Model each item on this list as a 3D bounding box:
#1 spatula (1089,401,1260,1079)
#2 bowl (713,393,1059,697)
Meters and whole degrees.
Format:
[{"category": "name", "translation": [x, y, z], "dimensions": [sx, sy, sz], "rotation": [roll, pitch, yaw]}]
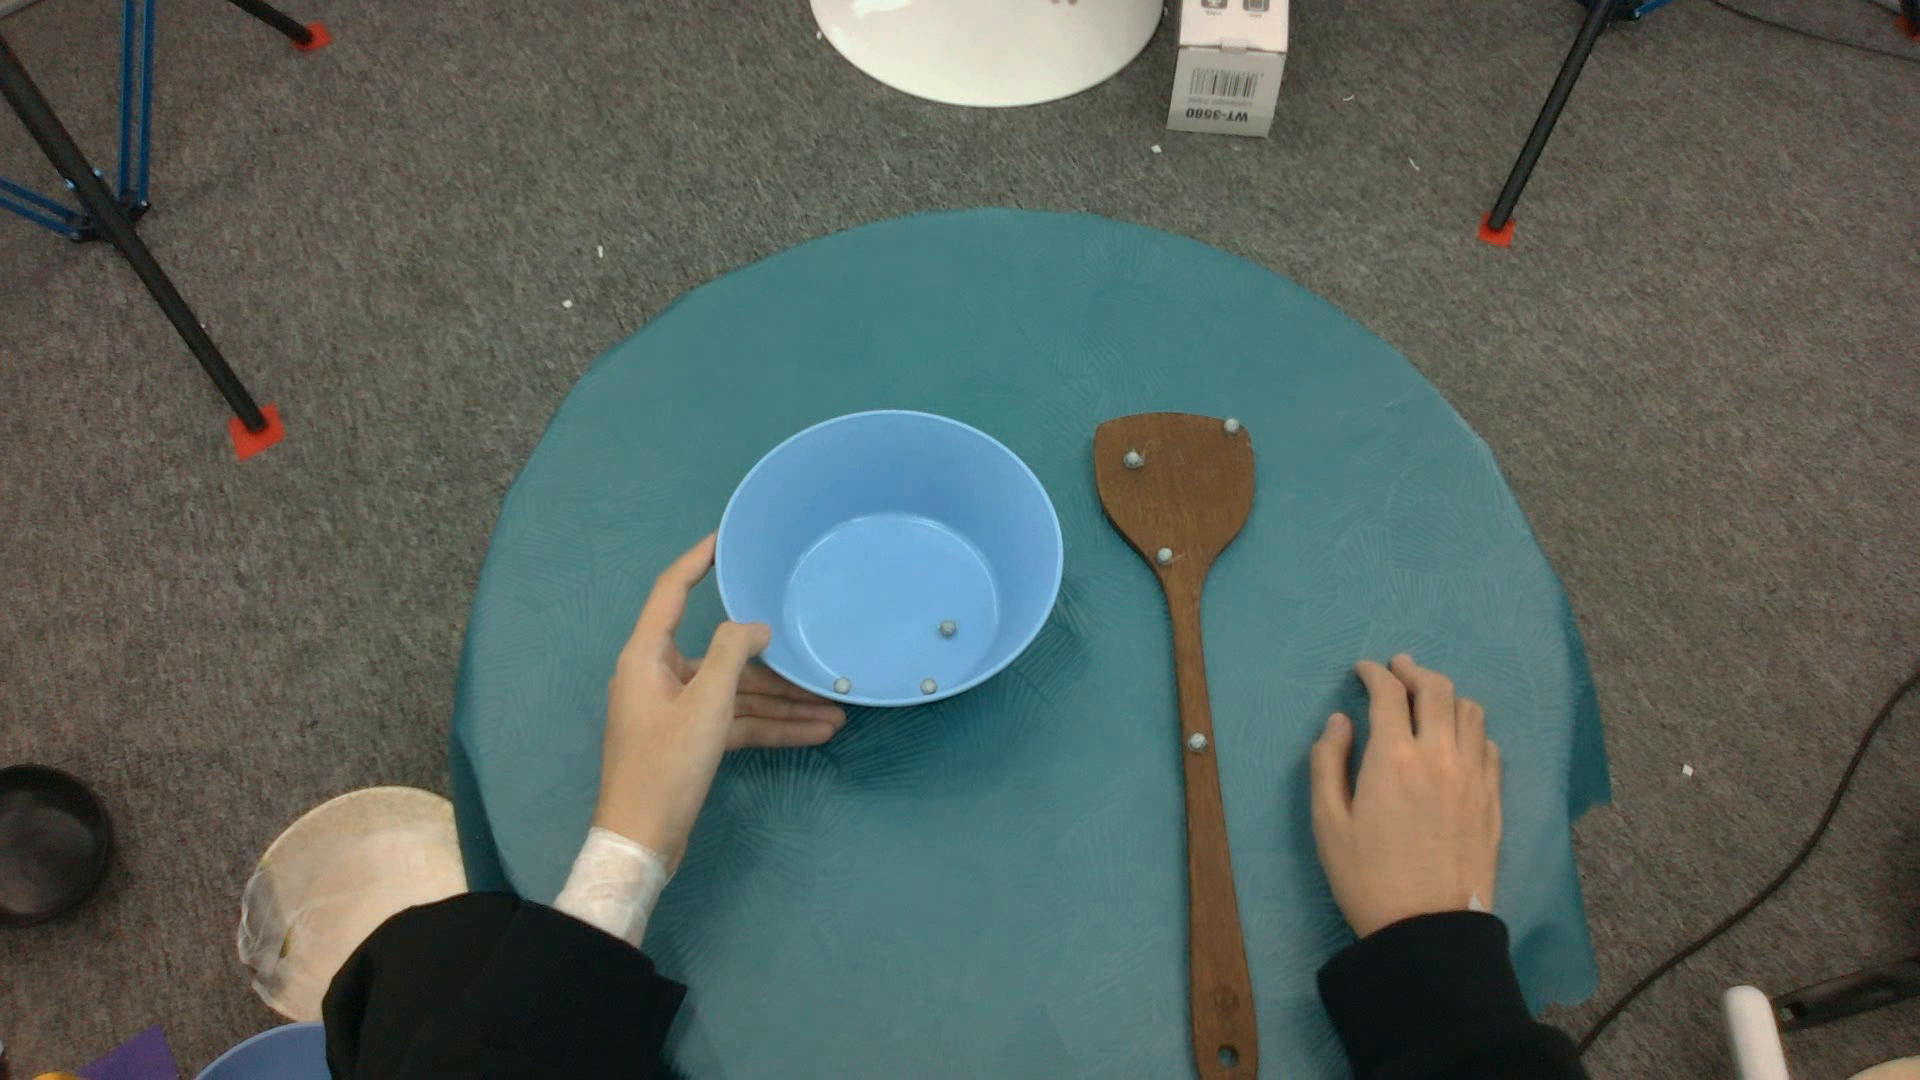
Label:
[{"category": "spatula", "translation": [0.122, 0.083, 0.719], "dimensions": [0.096, 0.016, 0.387], "rotation": [1, 58, -1]}, {"category": "bowl", "translation": [-0.038, 0.012, 0.724], "dimensions": [0.176, 0.070, 0.177], "rotation": [1, 60, -1]}]
